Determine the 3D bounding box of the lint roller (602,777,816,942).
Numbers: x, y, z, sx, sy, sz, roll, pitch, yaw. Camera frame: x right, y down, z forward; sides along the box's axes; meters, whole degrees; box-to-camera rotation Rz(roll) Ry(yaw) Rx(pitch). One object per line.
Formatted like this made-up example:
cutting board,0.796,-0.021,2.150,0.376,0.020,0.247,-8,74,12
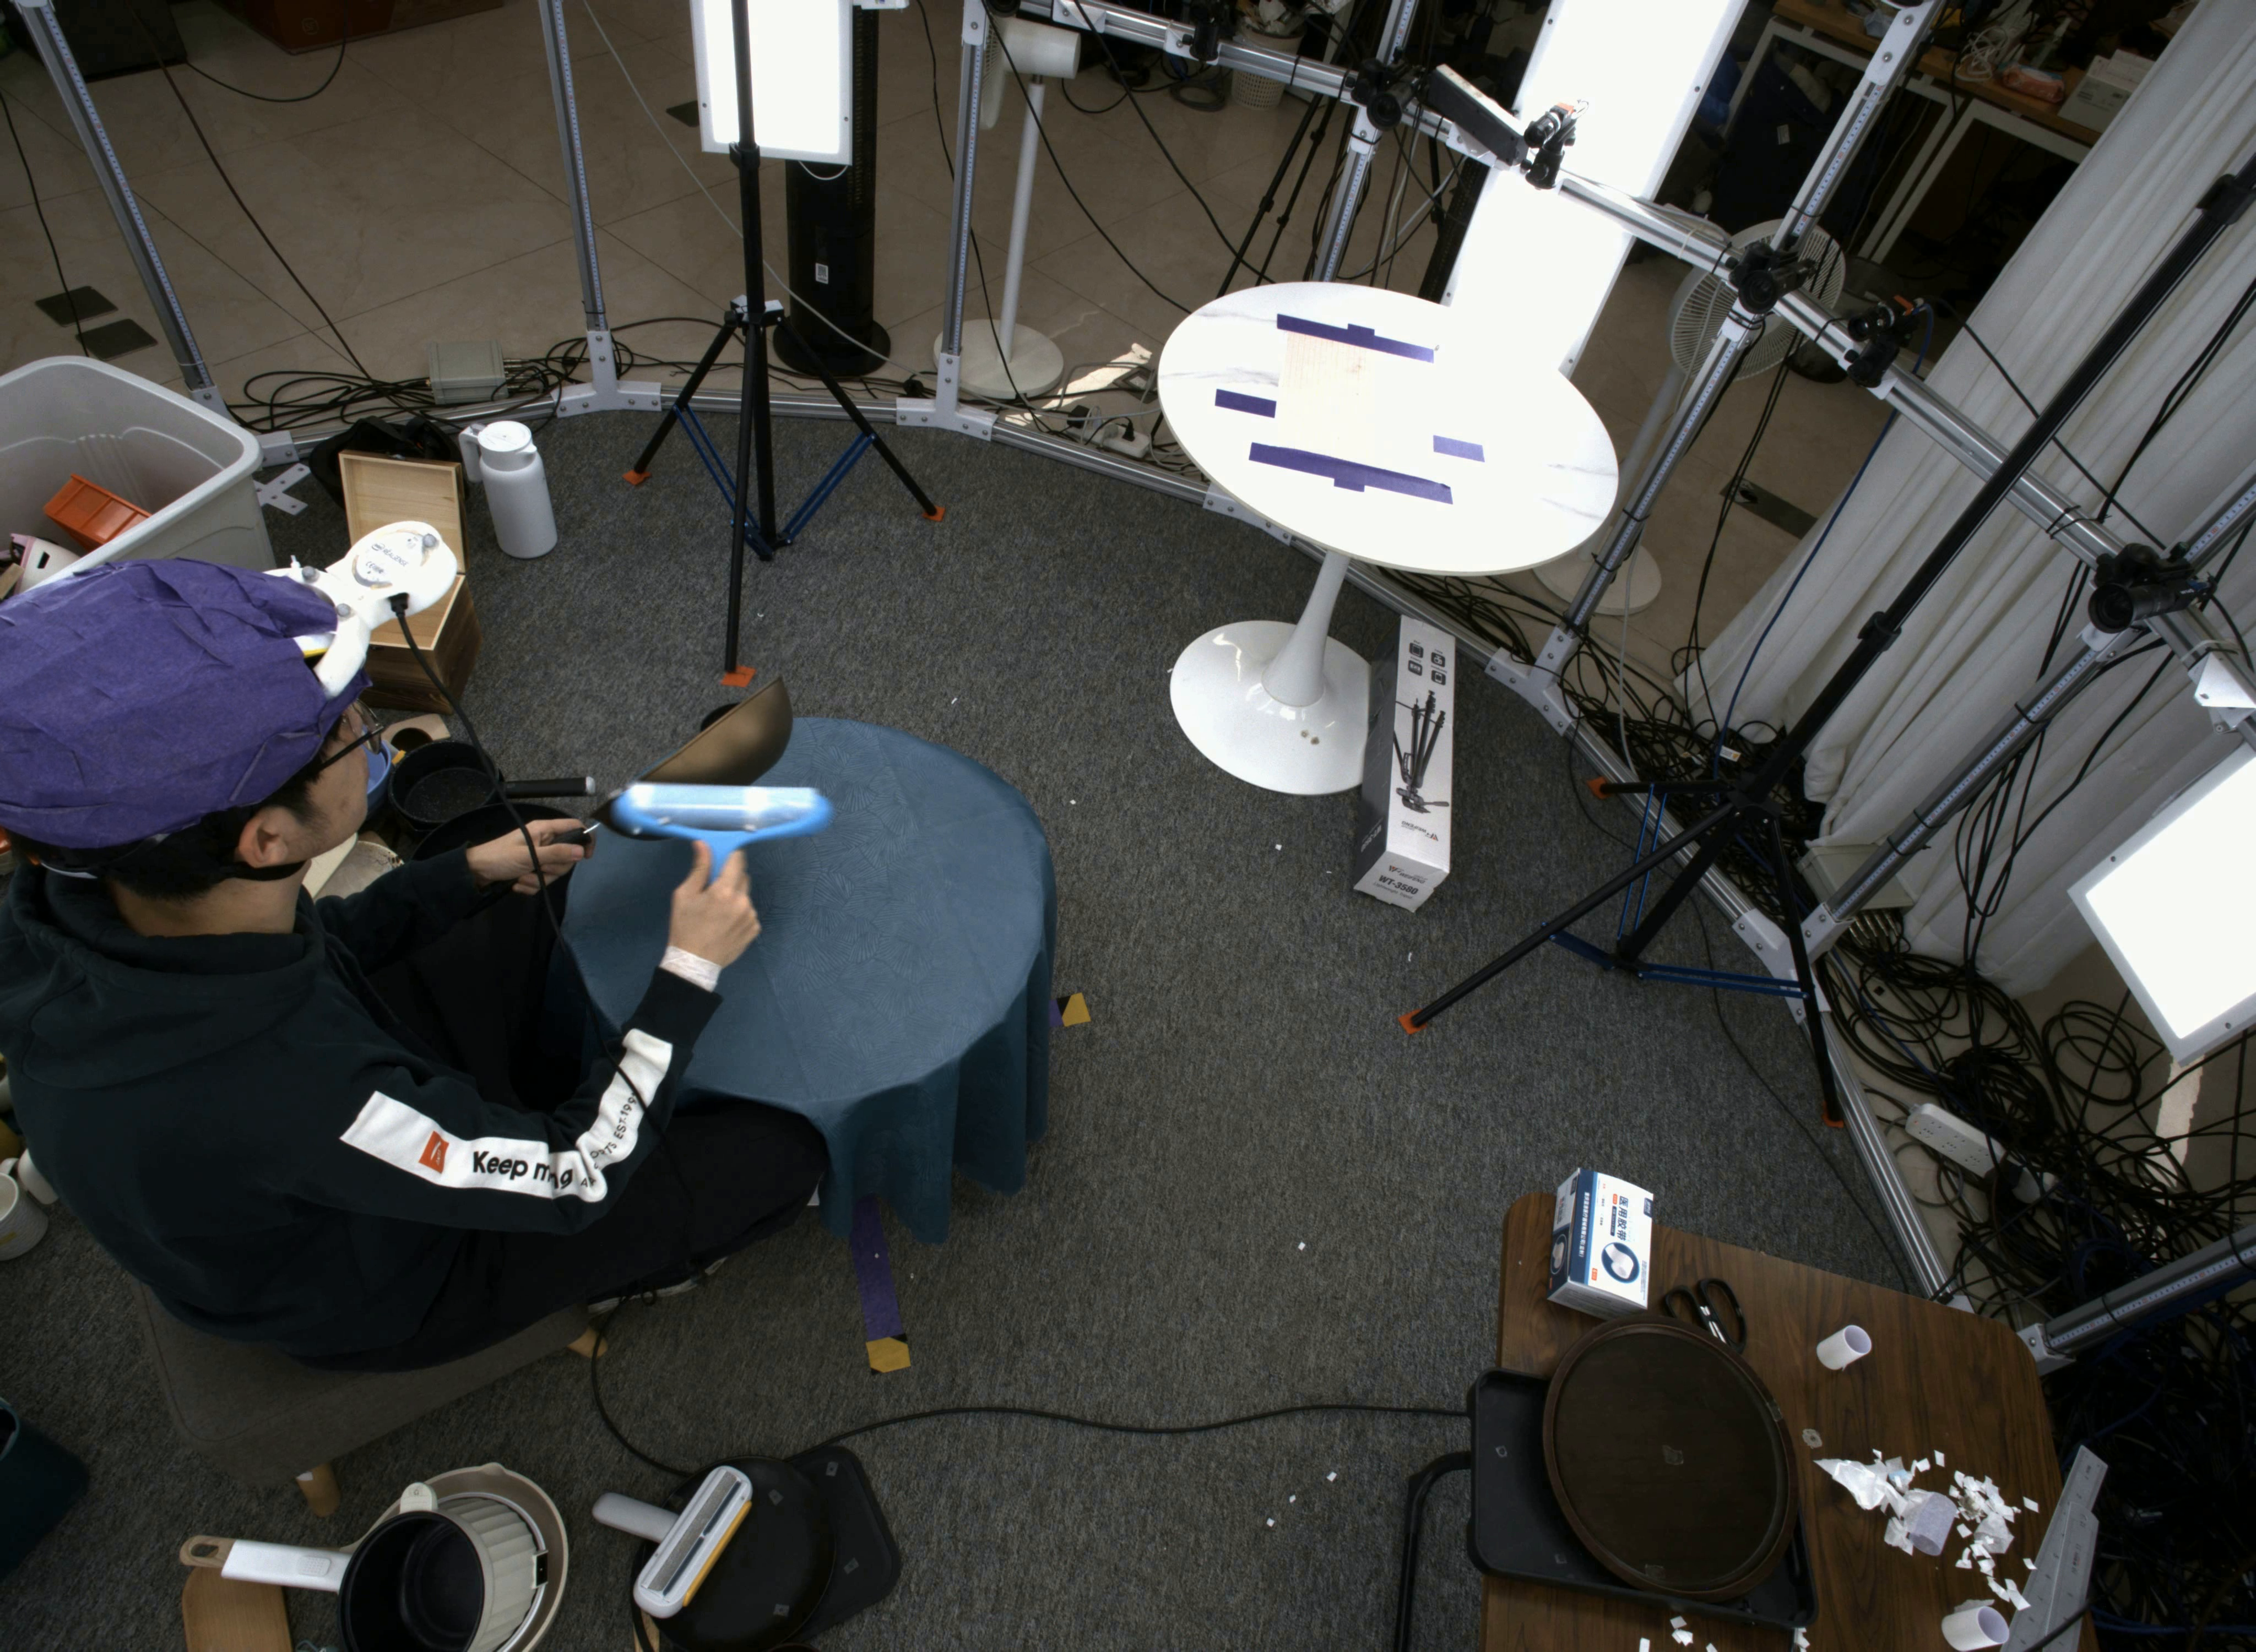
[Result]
lint roller,-0.441,0.026,1.371,0.230,0.069,0.177,-4,60,-22

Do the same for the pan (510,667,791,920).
pan,-0.567,-0.012,1.509,0.462,0.283,0.088,-39,102,-7
